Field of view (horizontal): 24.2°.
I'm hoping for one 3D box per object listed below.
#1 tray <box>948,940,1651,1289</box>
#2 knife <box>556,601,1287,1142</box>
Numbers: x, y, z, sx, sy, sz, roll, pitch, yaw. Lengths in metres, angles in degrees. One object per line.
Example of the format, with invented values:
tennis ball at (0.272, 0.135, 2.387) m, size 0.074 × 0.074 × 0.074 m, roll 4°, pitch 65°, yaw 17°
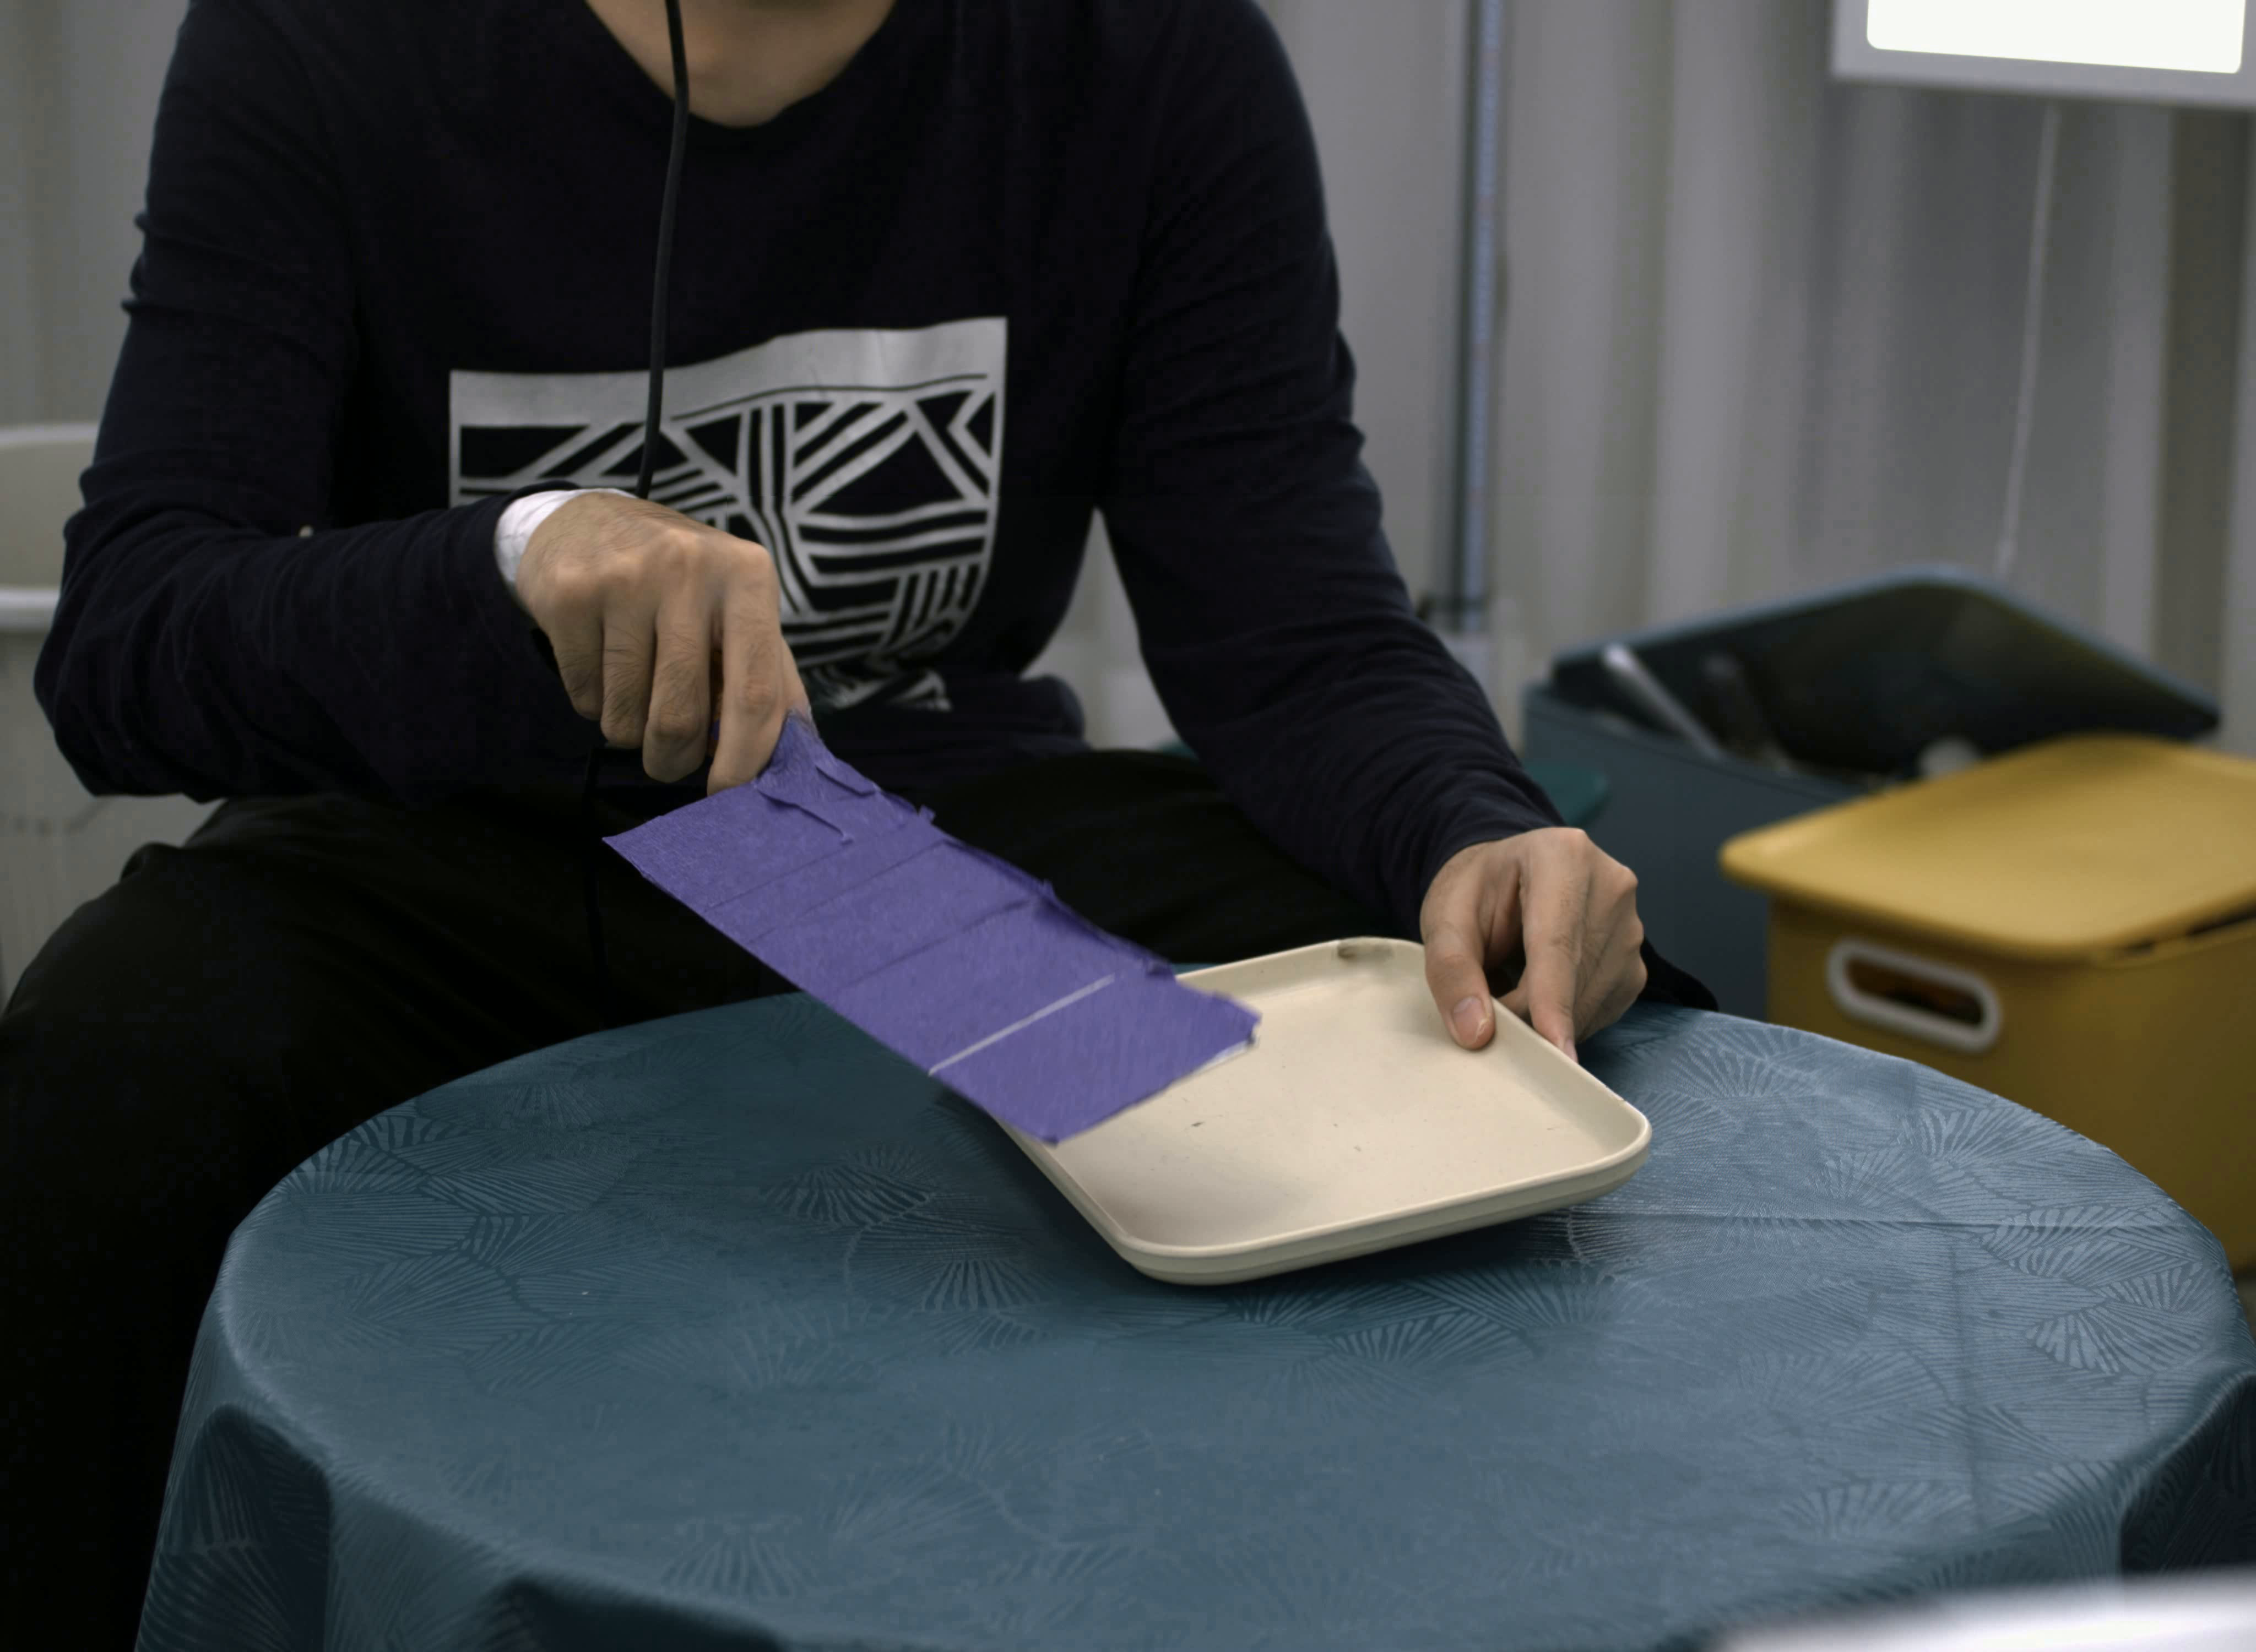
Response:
tray at (0.050, 0.088, 1.649) m, size 0.171 × 0.017 × 0.237 m, roll -12°, pitch 18°, yaw -15°
knife at (-0.093, 0.010, 1.622) m, size 0.104 × 0.032 × 0.311 m, roll -23°, pitch 40°, yaw -39°
